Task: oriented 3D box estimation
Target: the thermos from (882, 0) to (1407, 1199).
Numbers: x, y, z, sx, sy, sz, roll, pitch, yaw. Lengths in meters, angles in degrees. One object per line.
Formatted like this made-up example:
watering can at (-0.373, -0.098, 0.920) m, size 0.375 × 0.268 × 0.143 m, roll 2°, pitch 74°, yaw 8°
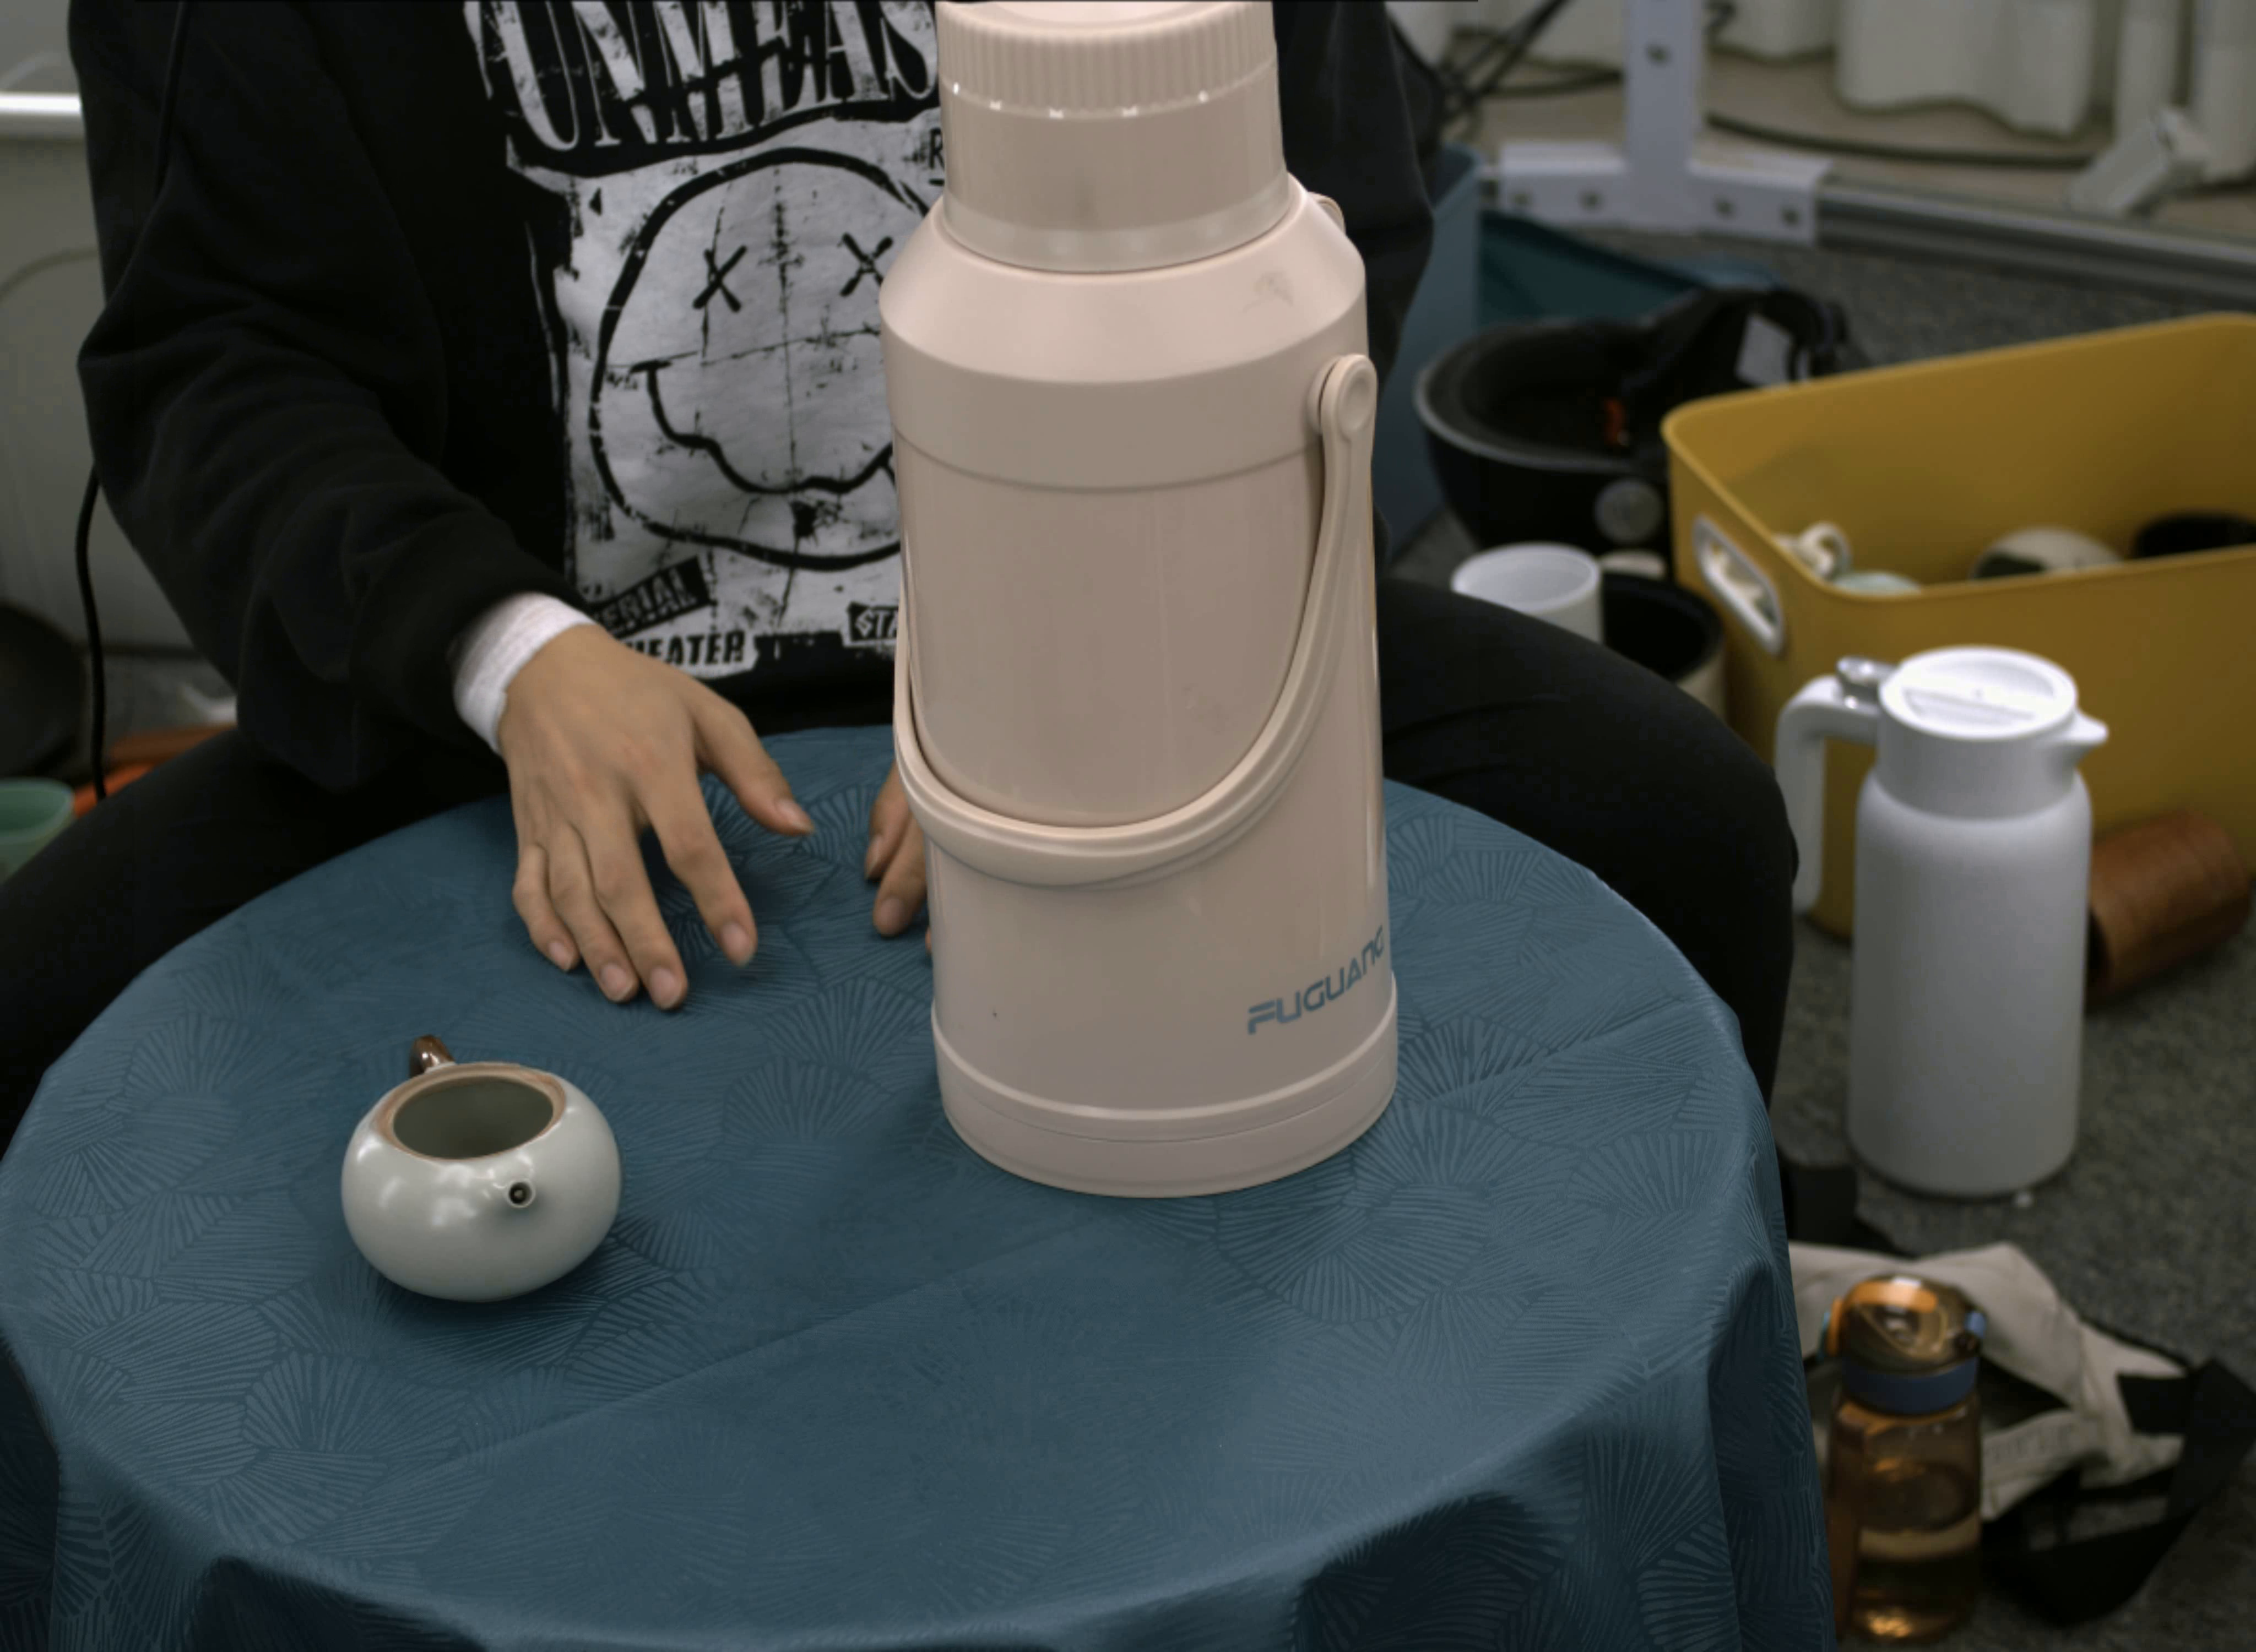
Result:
thermos at (0.014, -0.094, 1.849) m, size 0.174 × 0.402 × 0.210 m, roll 12°, pitch 30°, yaw 30°

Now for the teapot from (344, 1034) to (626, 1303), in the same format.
teapot at (-0.213, 0.112, 1.834) m, size 0.092 × 0.059 × 0.129 m, roll -18°, pitch 31°, yaw -18°
